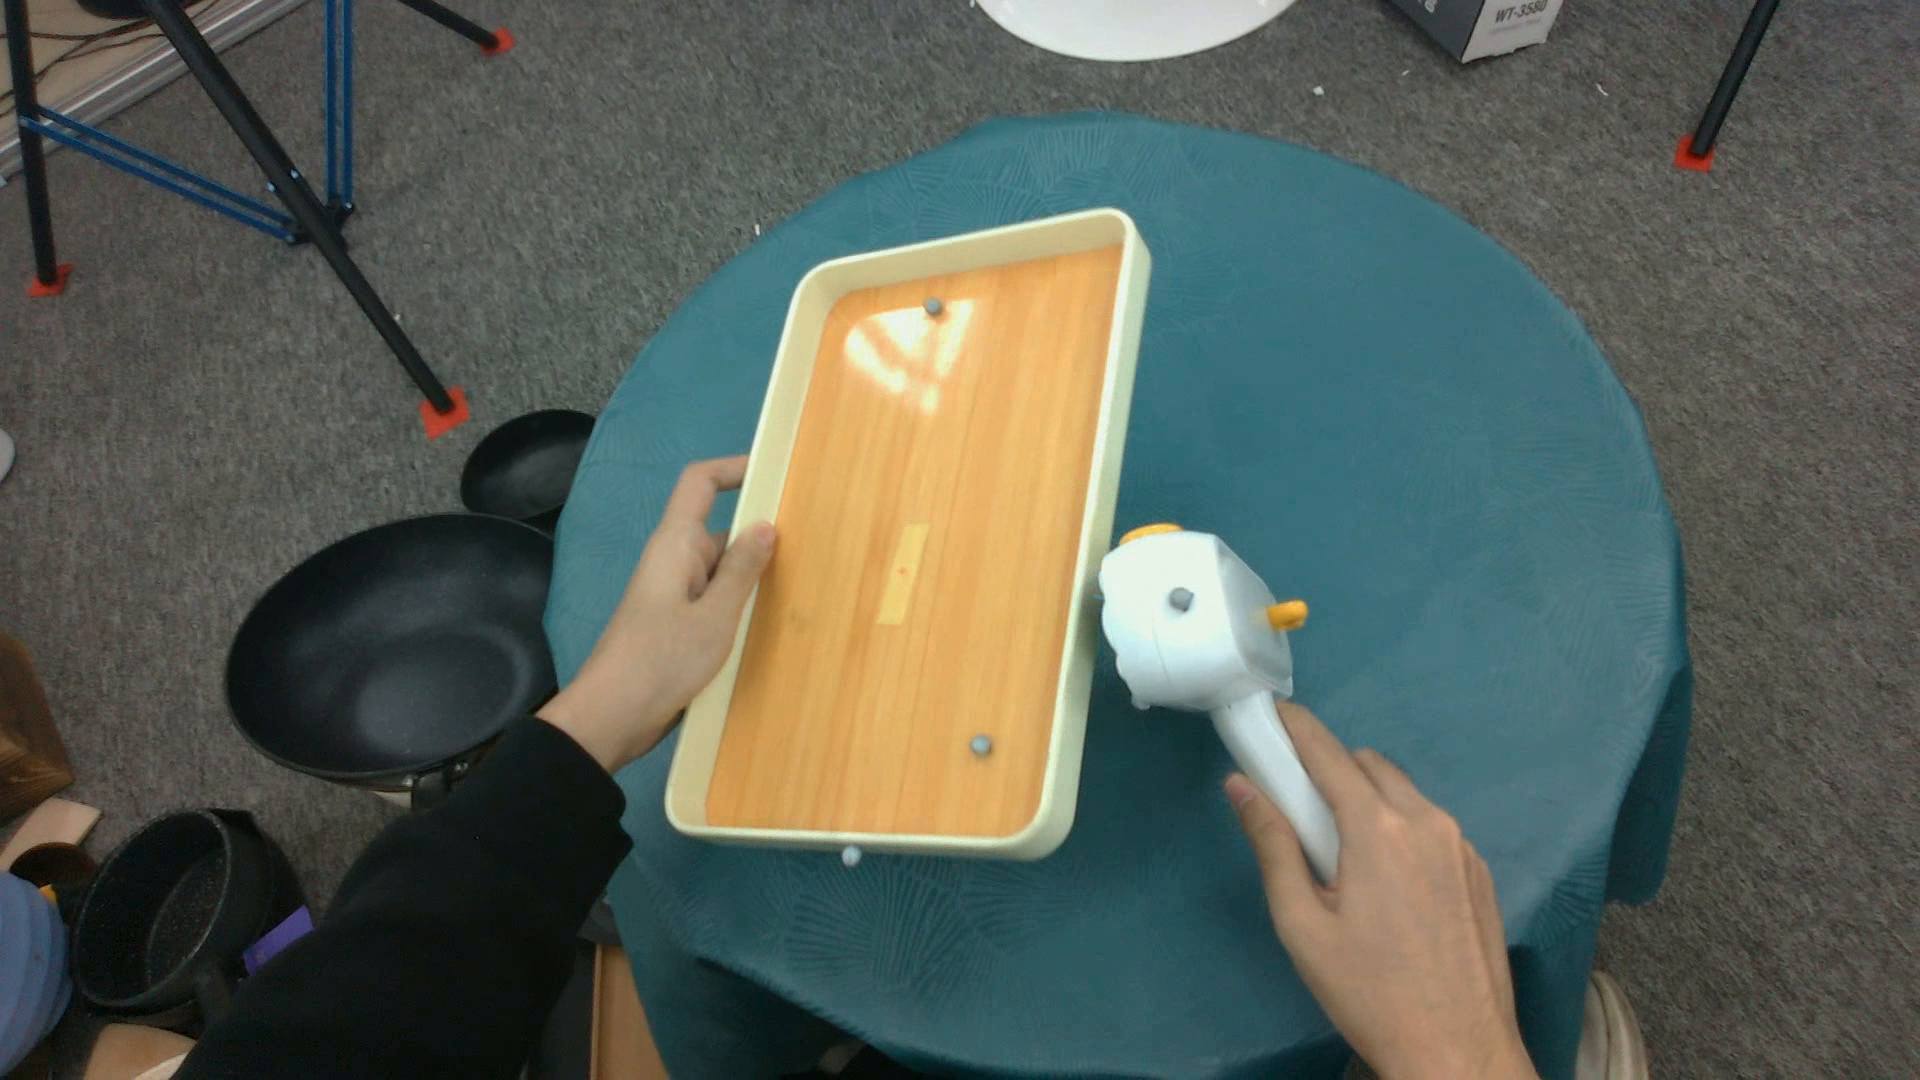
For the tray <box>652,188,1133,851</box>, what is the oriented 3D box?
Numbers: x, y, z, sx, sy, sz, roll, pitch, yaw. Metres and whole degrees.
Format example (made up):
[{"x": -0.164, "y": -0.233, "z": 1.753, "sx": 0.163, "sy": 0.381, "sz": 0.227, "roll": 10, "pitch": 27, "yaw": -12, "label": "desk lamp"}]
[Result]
[{"x": -0.027, "y": -0.016, "z": 0.618, "sx": 0.191, "sy": 0.027, "sz": 0.301, "roll": -4, "pitch": 64, "yaw": 29, "label": "tray"}]

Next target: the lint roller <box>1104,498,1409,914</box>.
[{"x": 0.131, "y": 0.072, "z": 0.589, "sx": 0.074, "sy": 0.193, "sz": 0.192, "roll": -21, "pitch": 84, "yaw": 14, "label": "lint roller"}]
